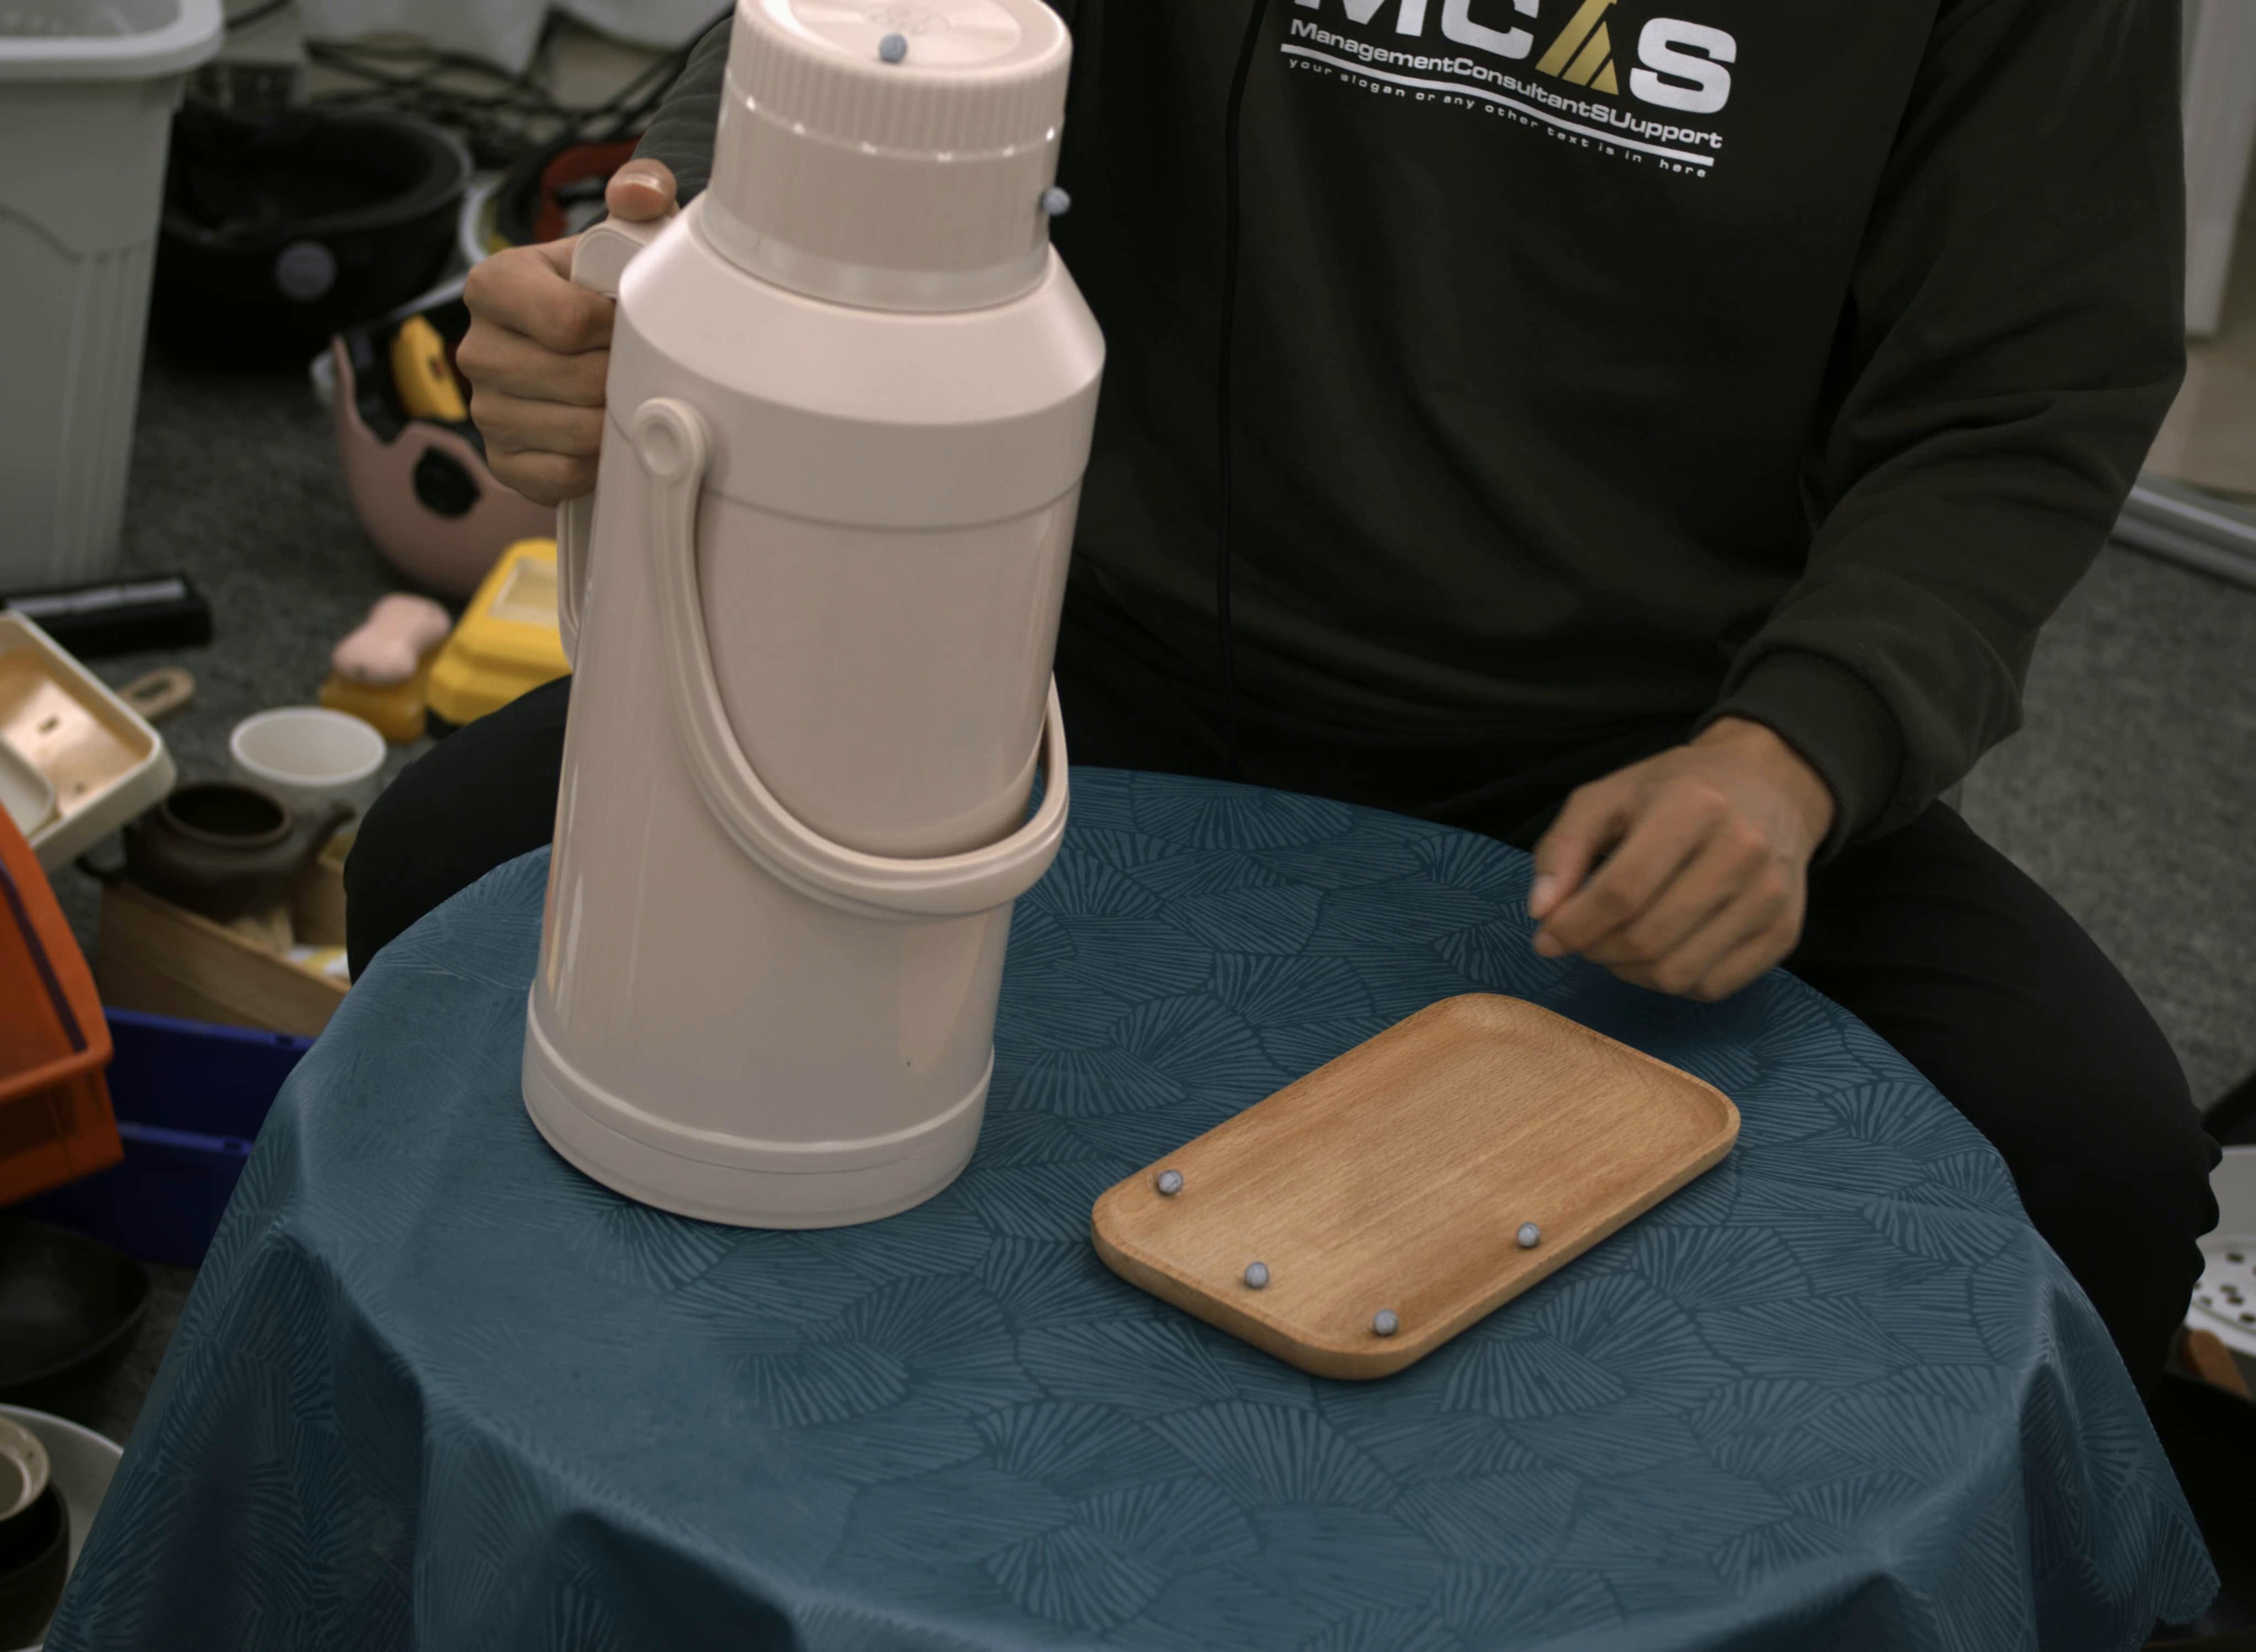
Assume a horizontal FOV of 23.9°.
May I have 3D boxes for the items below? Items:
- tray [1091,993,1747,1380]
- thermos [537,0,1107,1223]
[{"bbox_3d":[0.102,0.121,1.819,0.131,0.023,0.250,27,32,30],"label":"tray"},{"bbox_3d":[-0.107,-0.084,1.745,0.208,0.405,0.174,28,34,31],"label":"thermos"}]
